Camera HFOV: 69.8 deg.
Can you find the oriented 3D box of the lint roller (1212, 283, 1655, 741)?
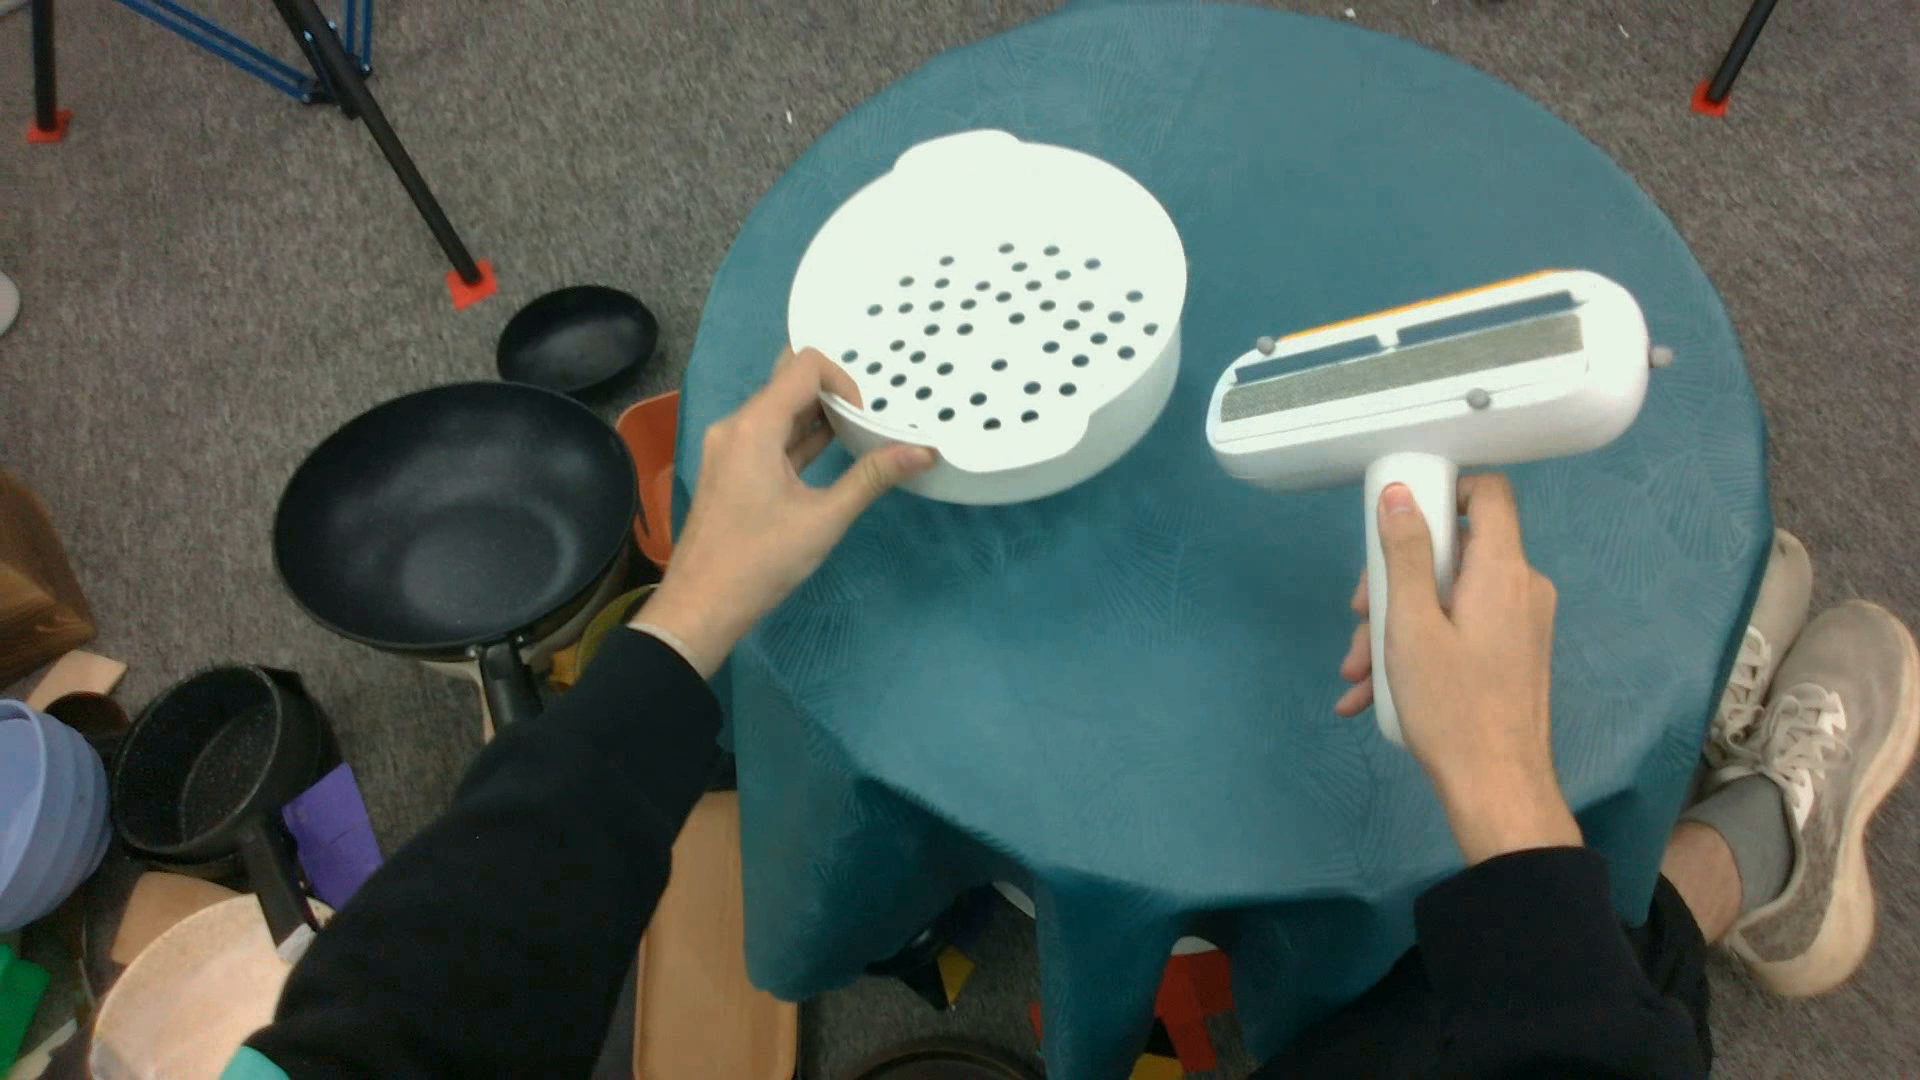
[{"bbox_3d":[0.194,-0.011,0.599,0.192,0.074,0.193,1,70,38],"label":"lint roller"}]

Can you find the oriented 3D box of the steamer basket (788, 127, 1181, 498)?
[{"bbox_3d":[0.015,-0.116,0.724,0.202,0.069,0.231,-11,57,4],"label":"steamer basket"}]
